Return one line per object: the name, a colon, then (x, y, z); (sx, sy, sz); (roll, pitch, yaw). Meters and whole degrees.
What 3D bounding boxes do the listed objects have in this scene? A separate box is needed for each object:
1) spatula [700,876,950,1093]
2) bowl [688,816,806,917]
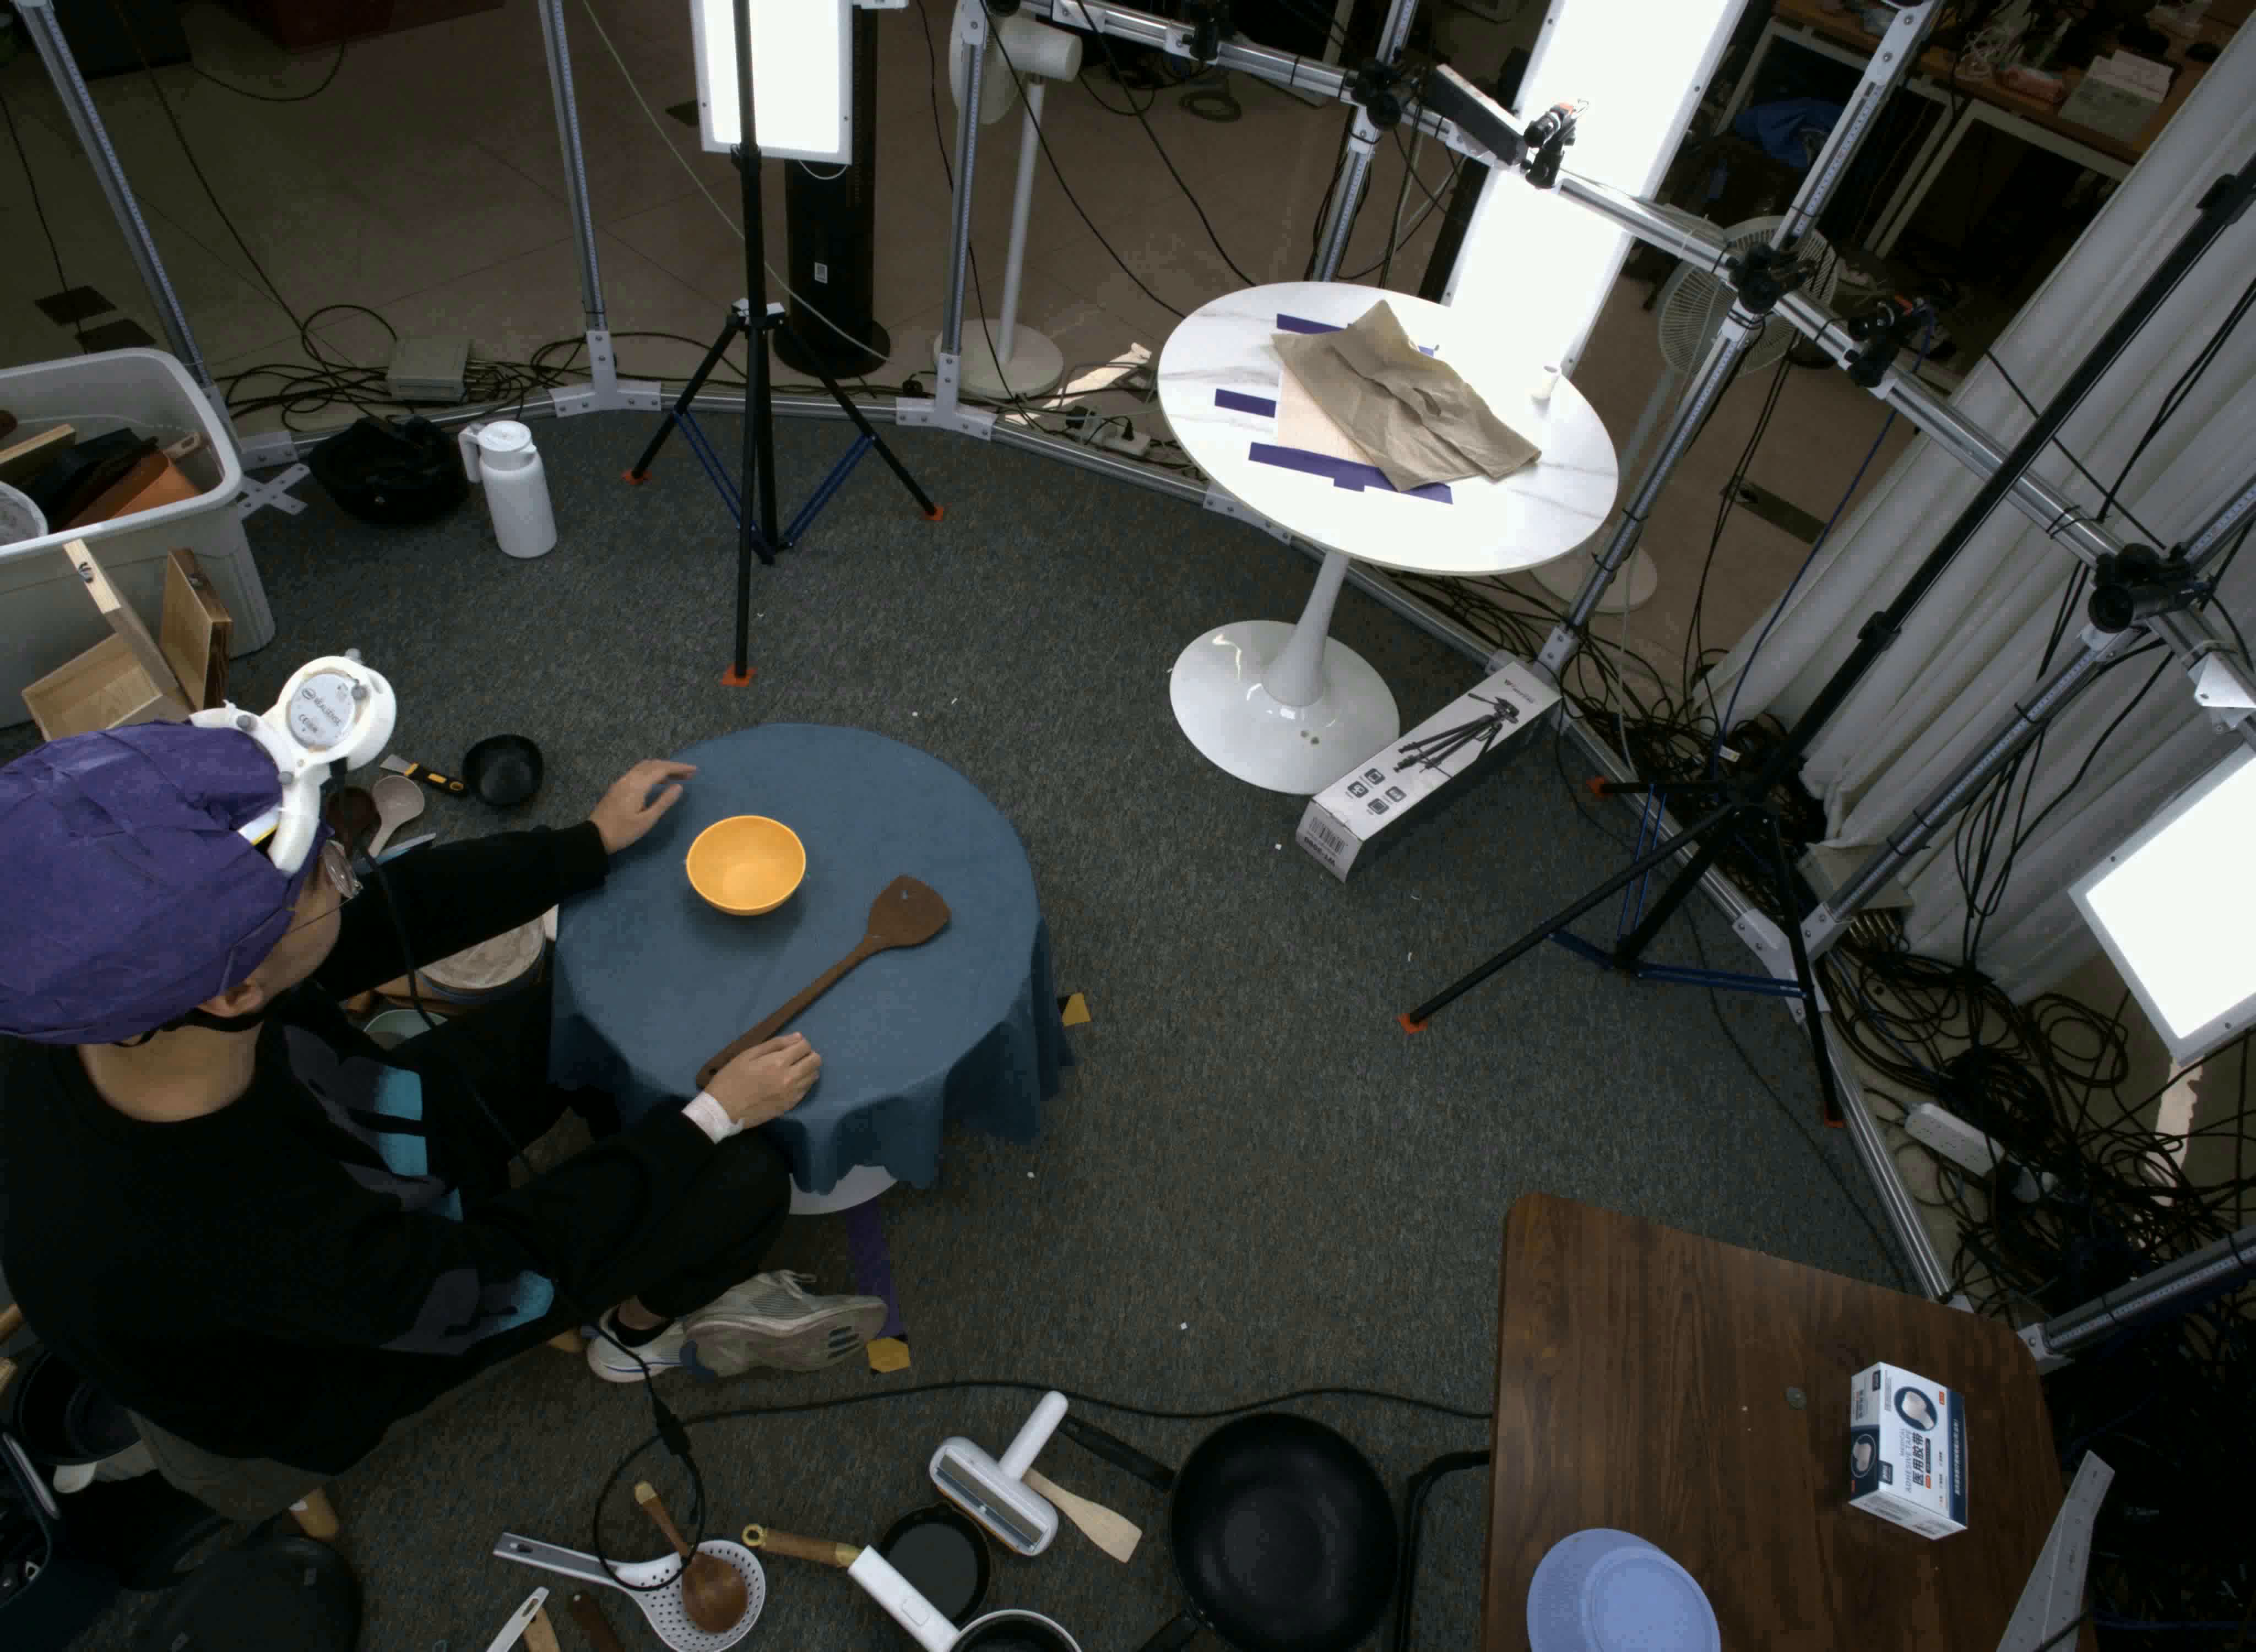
spatula: (-0.373, 0.191, 1.591); (0.094, 0.016, 0.386); (37, 54, 15)
bowl: (-0.478, 0.061, 1.634); (0.145, 0.061, 0.143); (6, 53, -7)
